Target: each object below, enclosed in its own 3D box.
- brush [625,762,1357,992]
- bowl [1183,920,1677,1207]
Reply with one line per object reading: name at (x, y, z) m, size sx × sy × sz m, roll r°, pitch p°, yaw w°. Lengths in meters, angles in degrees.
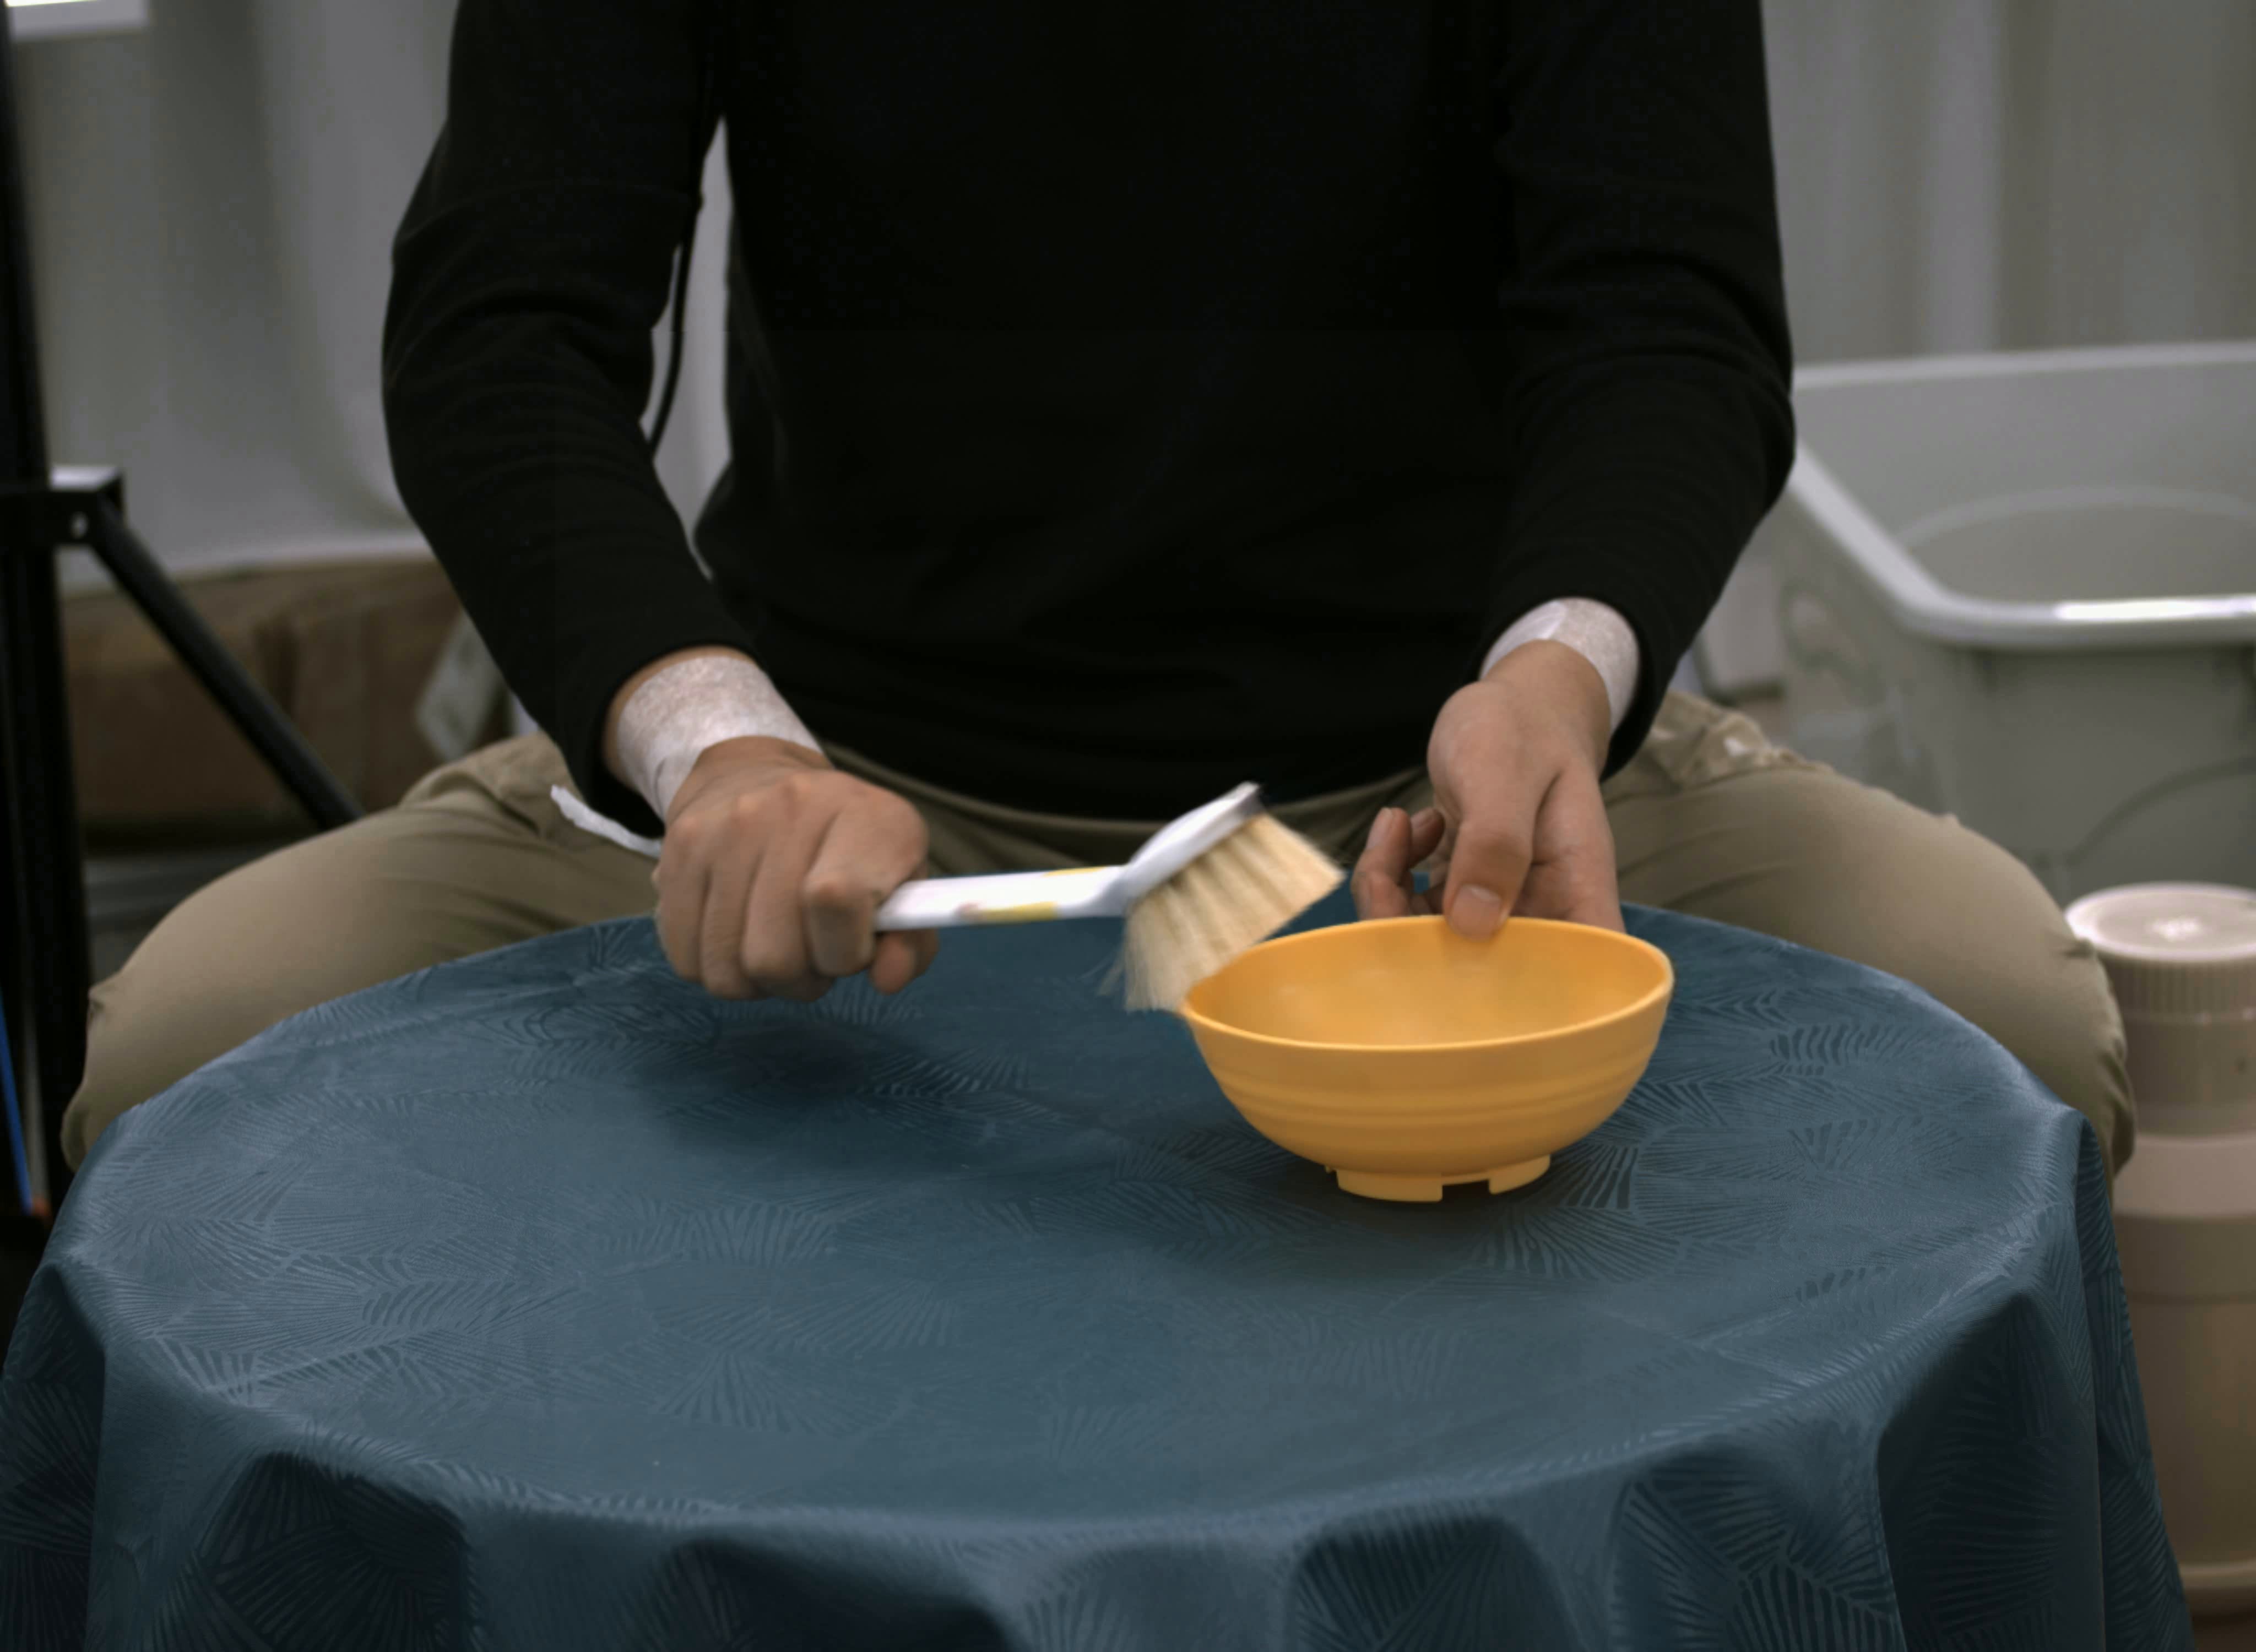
brush at (-0.045, 0.029, 1.628) m, size 0.271 × 0.056 × 0.067 m, roll -11°, pitch 9°, yaw 38°
bowl at (0.088, 0.074, 1.553) m, size 0.144 × 0.060 × 0.146 m, roll -1°, pitch 13°, yaw -1°
